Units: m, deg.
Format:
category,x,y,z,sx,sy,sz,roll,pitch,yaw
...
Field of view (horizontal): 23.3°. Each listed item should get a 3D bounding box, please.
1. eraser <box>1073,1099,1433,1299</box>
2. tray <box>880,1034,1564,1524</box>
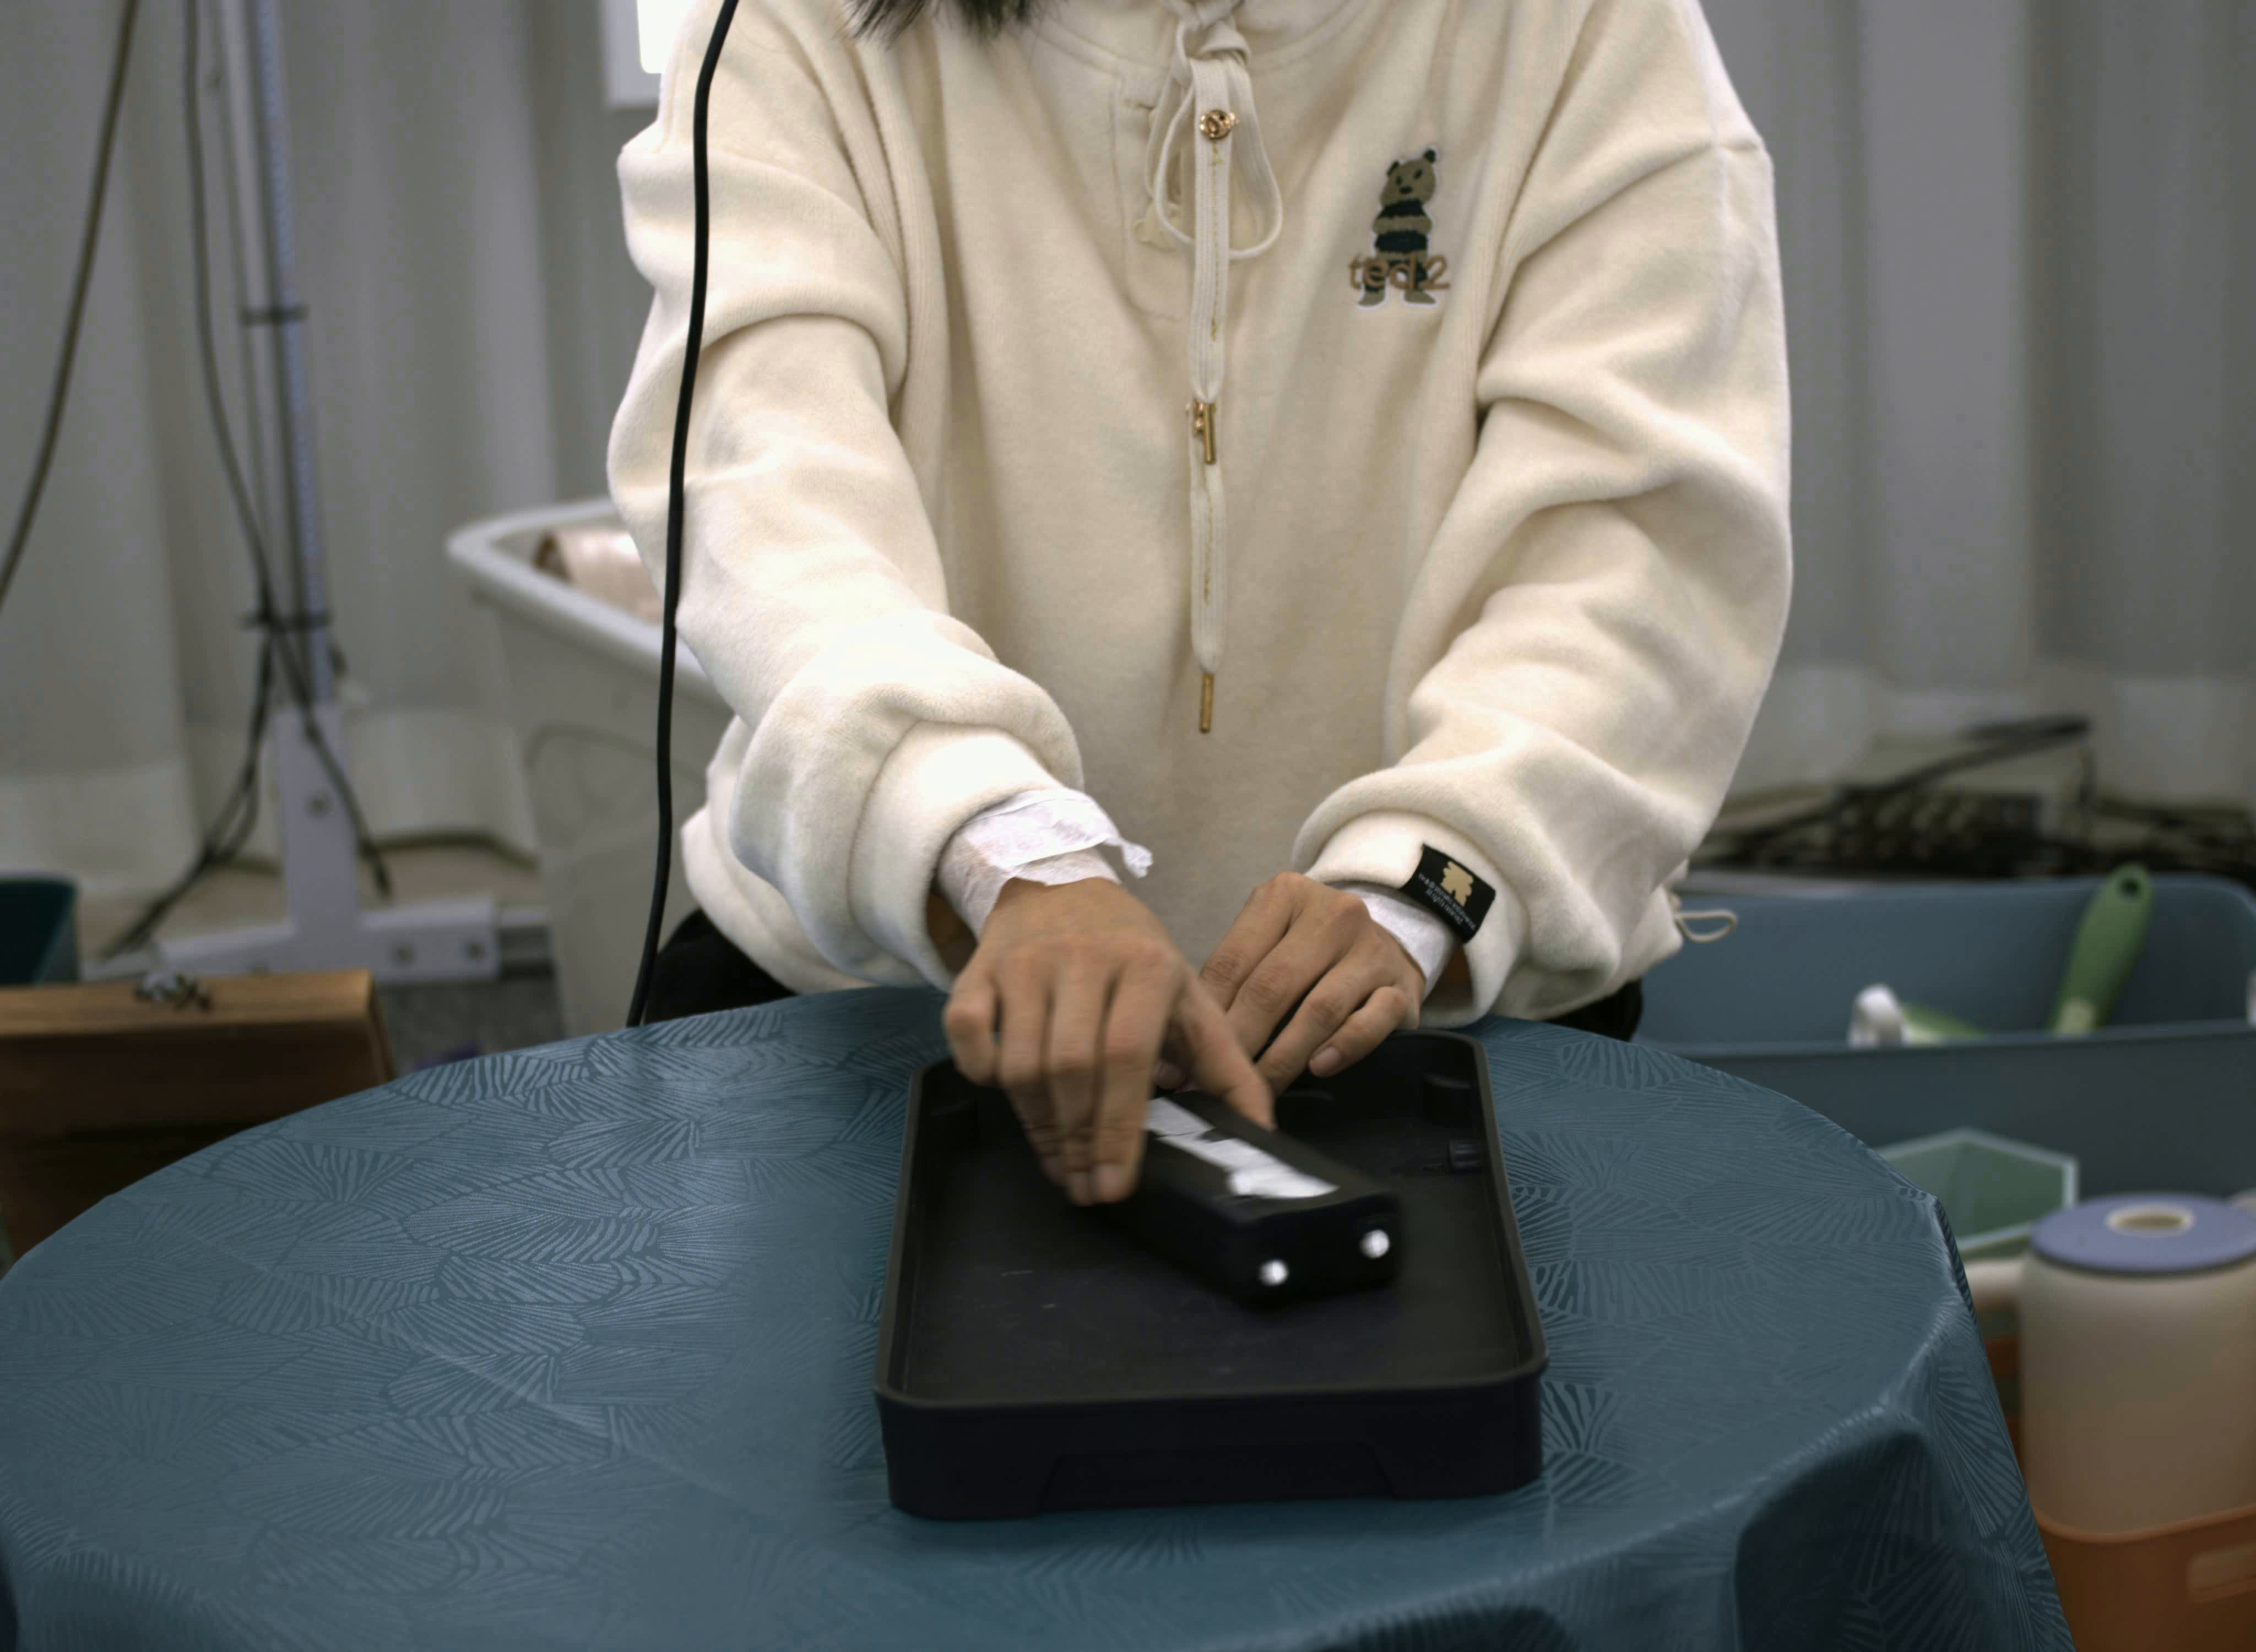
category,x,y,z,sx,sy,sz,roll,pitch,yaw
eraser,0.037,0.111,1.647,0.053,0.030,0.126,-4,13,-31
tray,0.022,0.126,1.594,0.183,0.037,0.320,-3,14,-1
